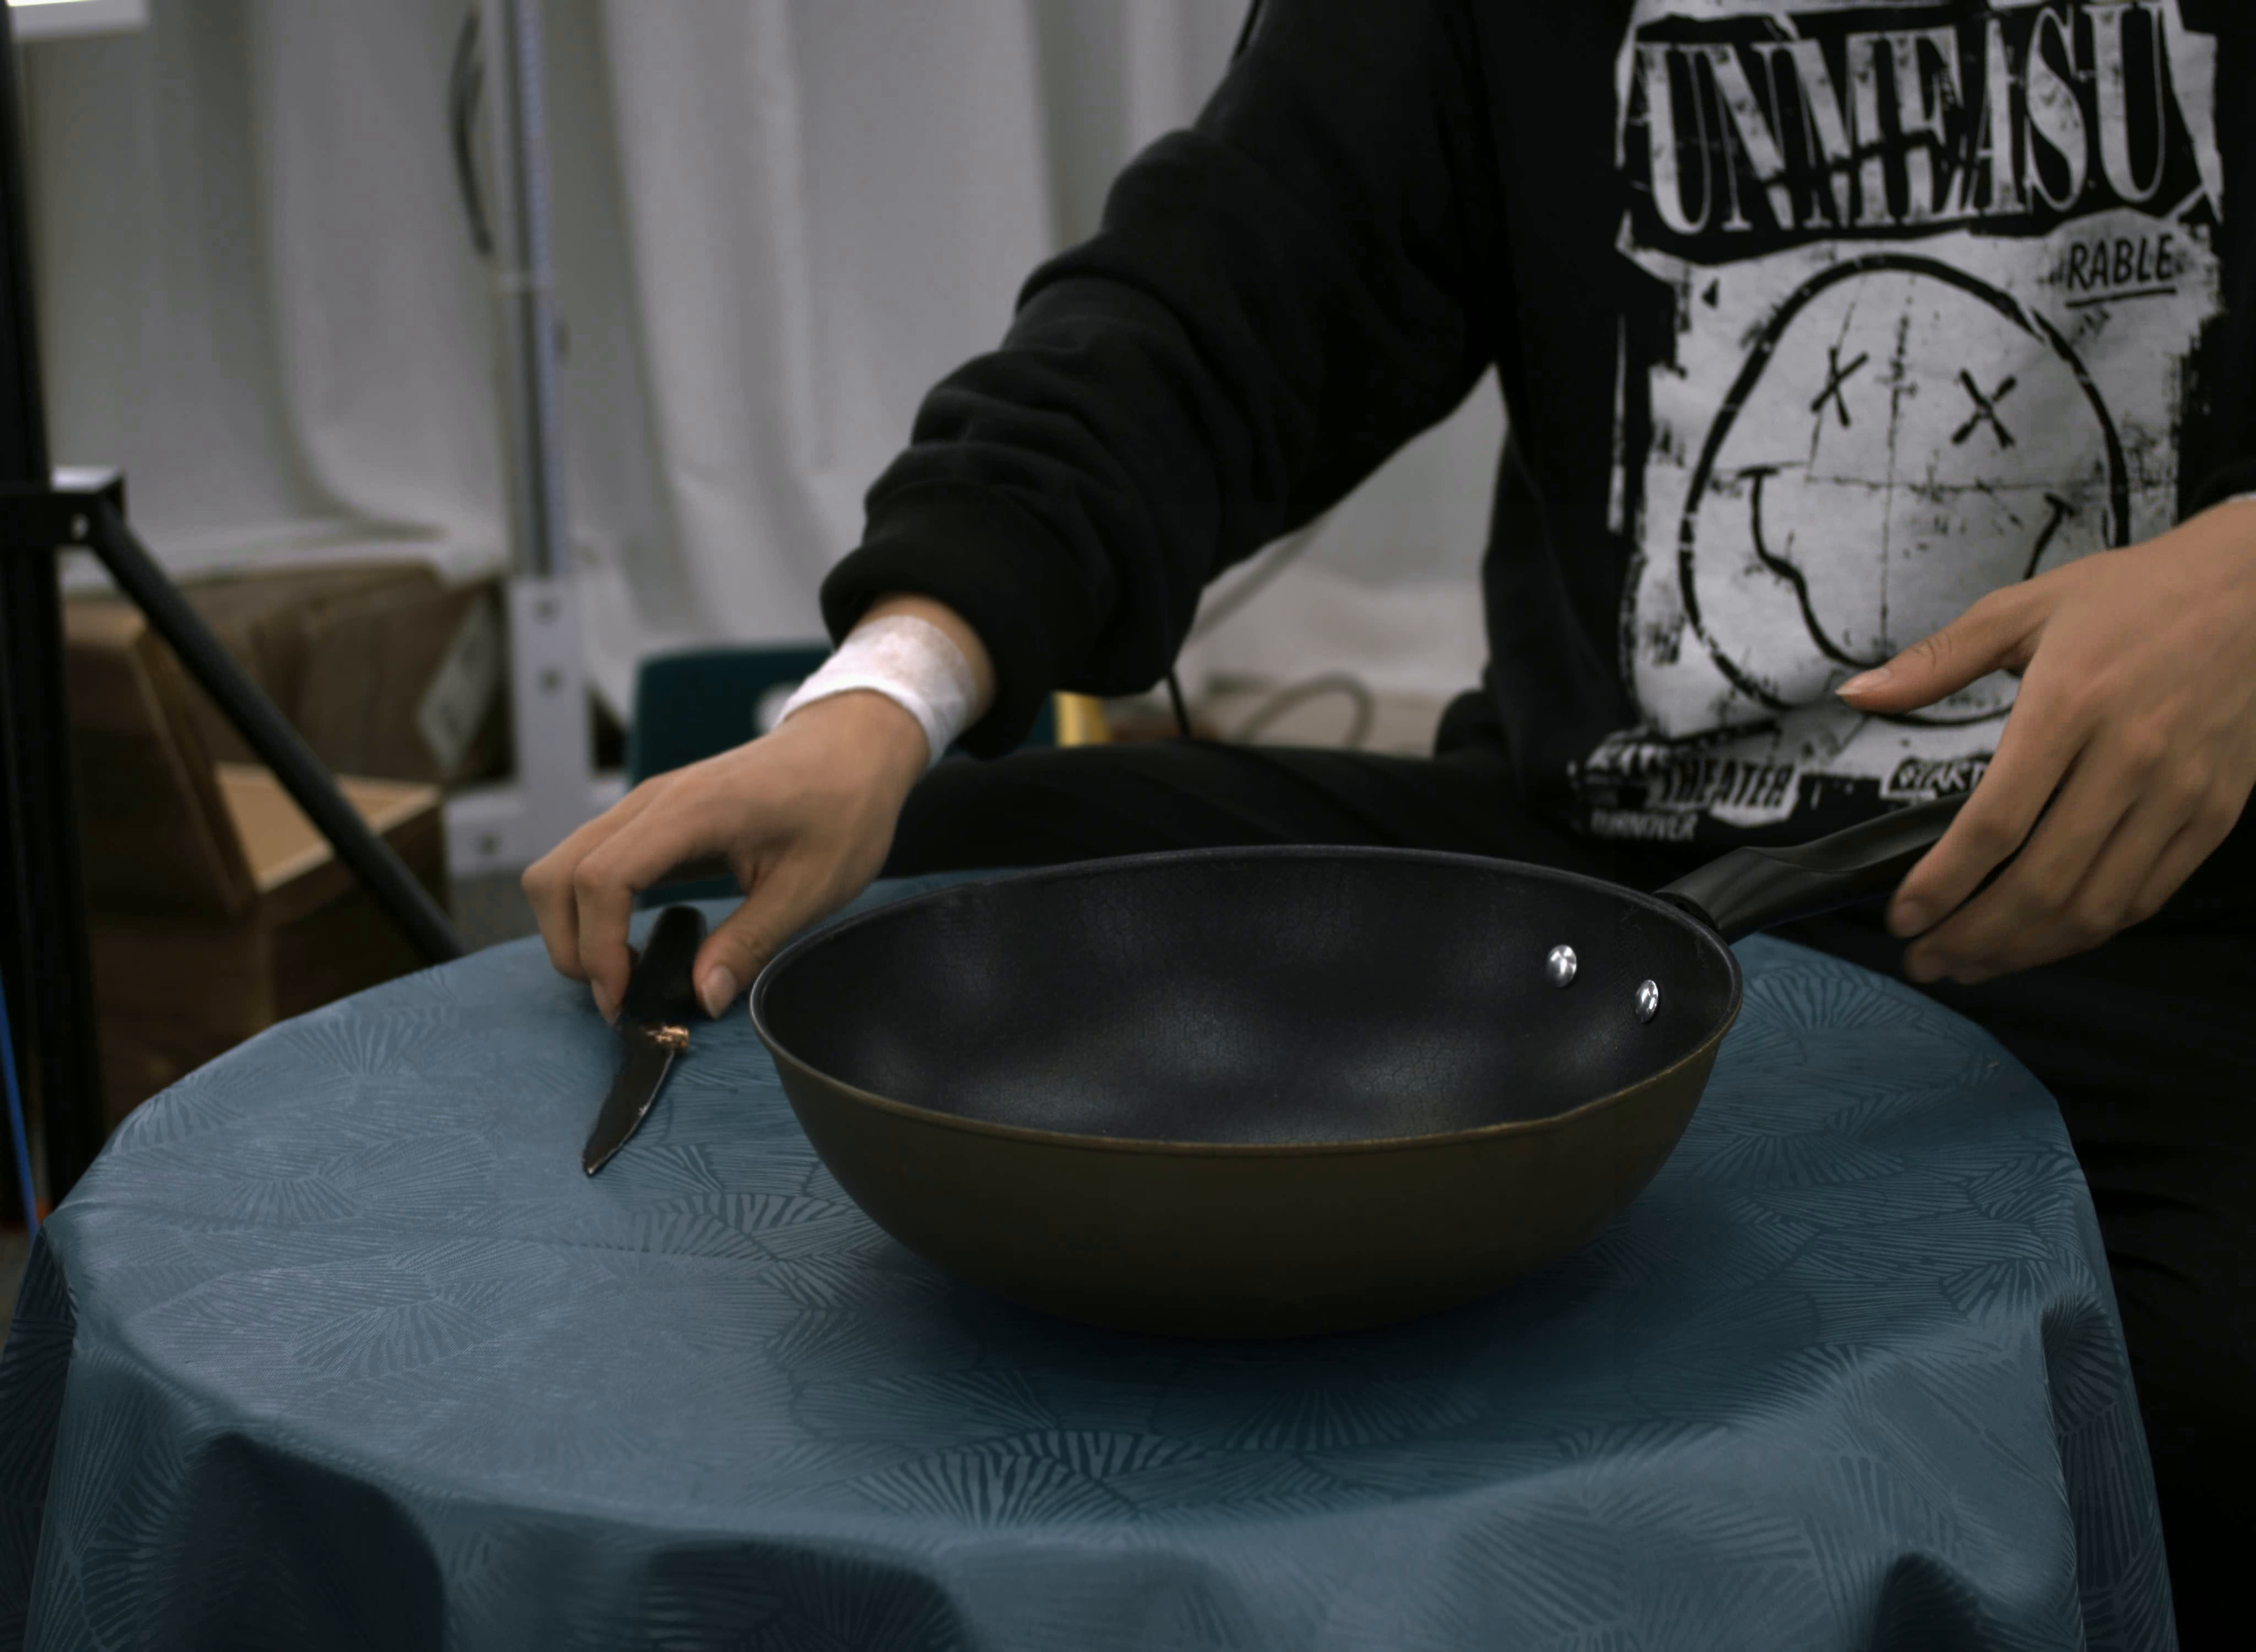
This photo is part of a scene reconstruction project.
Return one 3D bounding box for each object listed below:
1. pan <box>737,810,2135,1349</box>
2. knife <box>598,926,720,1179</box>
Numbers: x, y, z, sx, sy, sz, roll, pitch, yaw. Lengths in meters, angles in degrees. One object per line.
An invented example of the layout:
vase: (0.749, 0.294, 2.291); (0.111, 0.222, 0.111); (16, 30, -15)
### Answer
pan: (0.107, 0.067, 1.536); (0.453, 0.087, 0.294); (-11, 18, -30)
knife: (-0.152, 0.071, 1.696); (0.026, 0.017, 0.226); (11, 17, 0)
